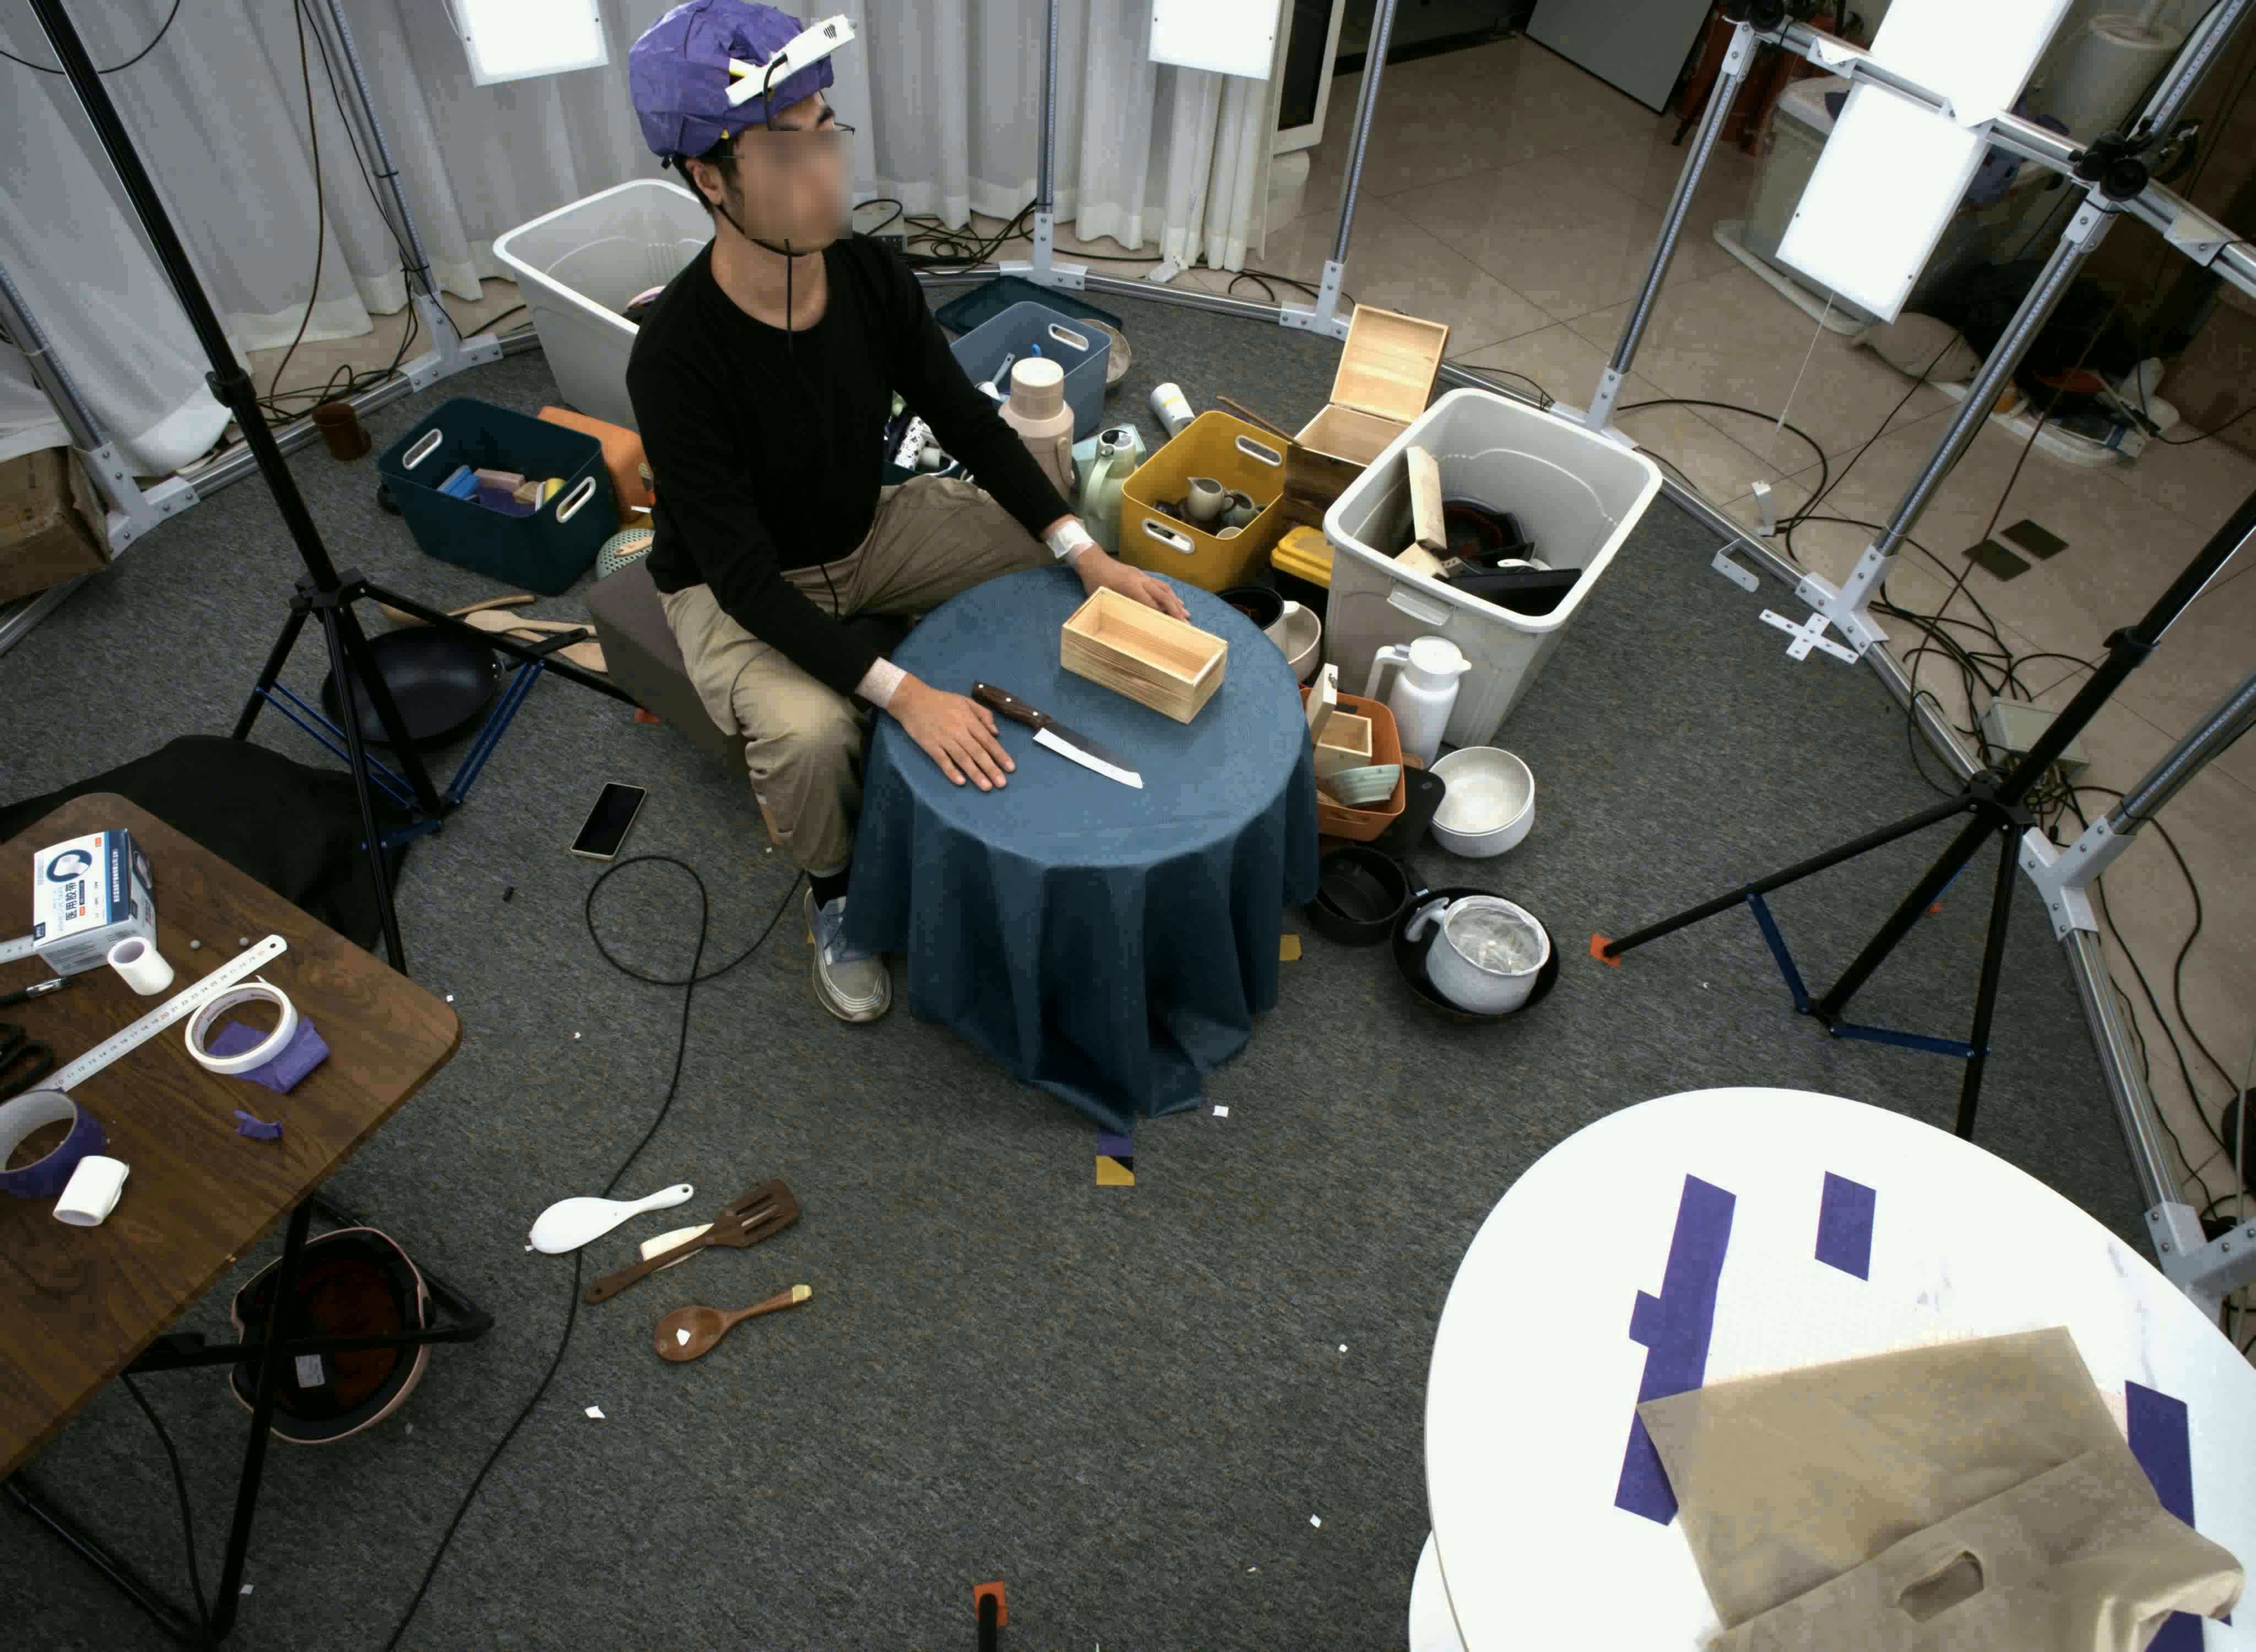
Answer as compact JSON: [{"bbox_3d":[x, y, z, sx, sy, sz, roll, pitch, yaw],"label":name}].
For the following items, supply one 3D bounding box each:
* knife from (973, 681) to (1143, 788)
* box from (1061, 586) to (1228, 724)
[{"bbox_3d":[-0.098,-0.126,1.763,0.292,0.019,0.051,31,59,18],"label":"knife"},{"bbox_3d":[0.021,-0.246,1.834,0.213,0.078,0.109,27,52,17],"label":"box"}]
